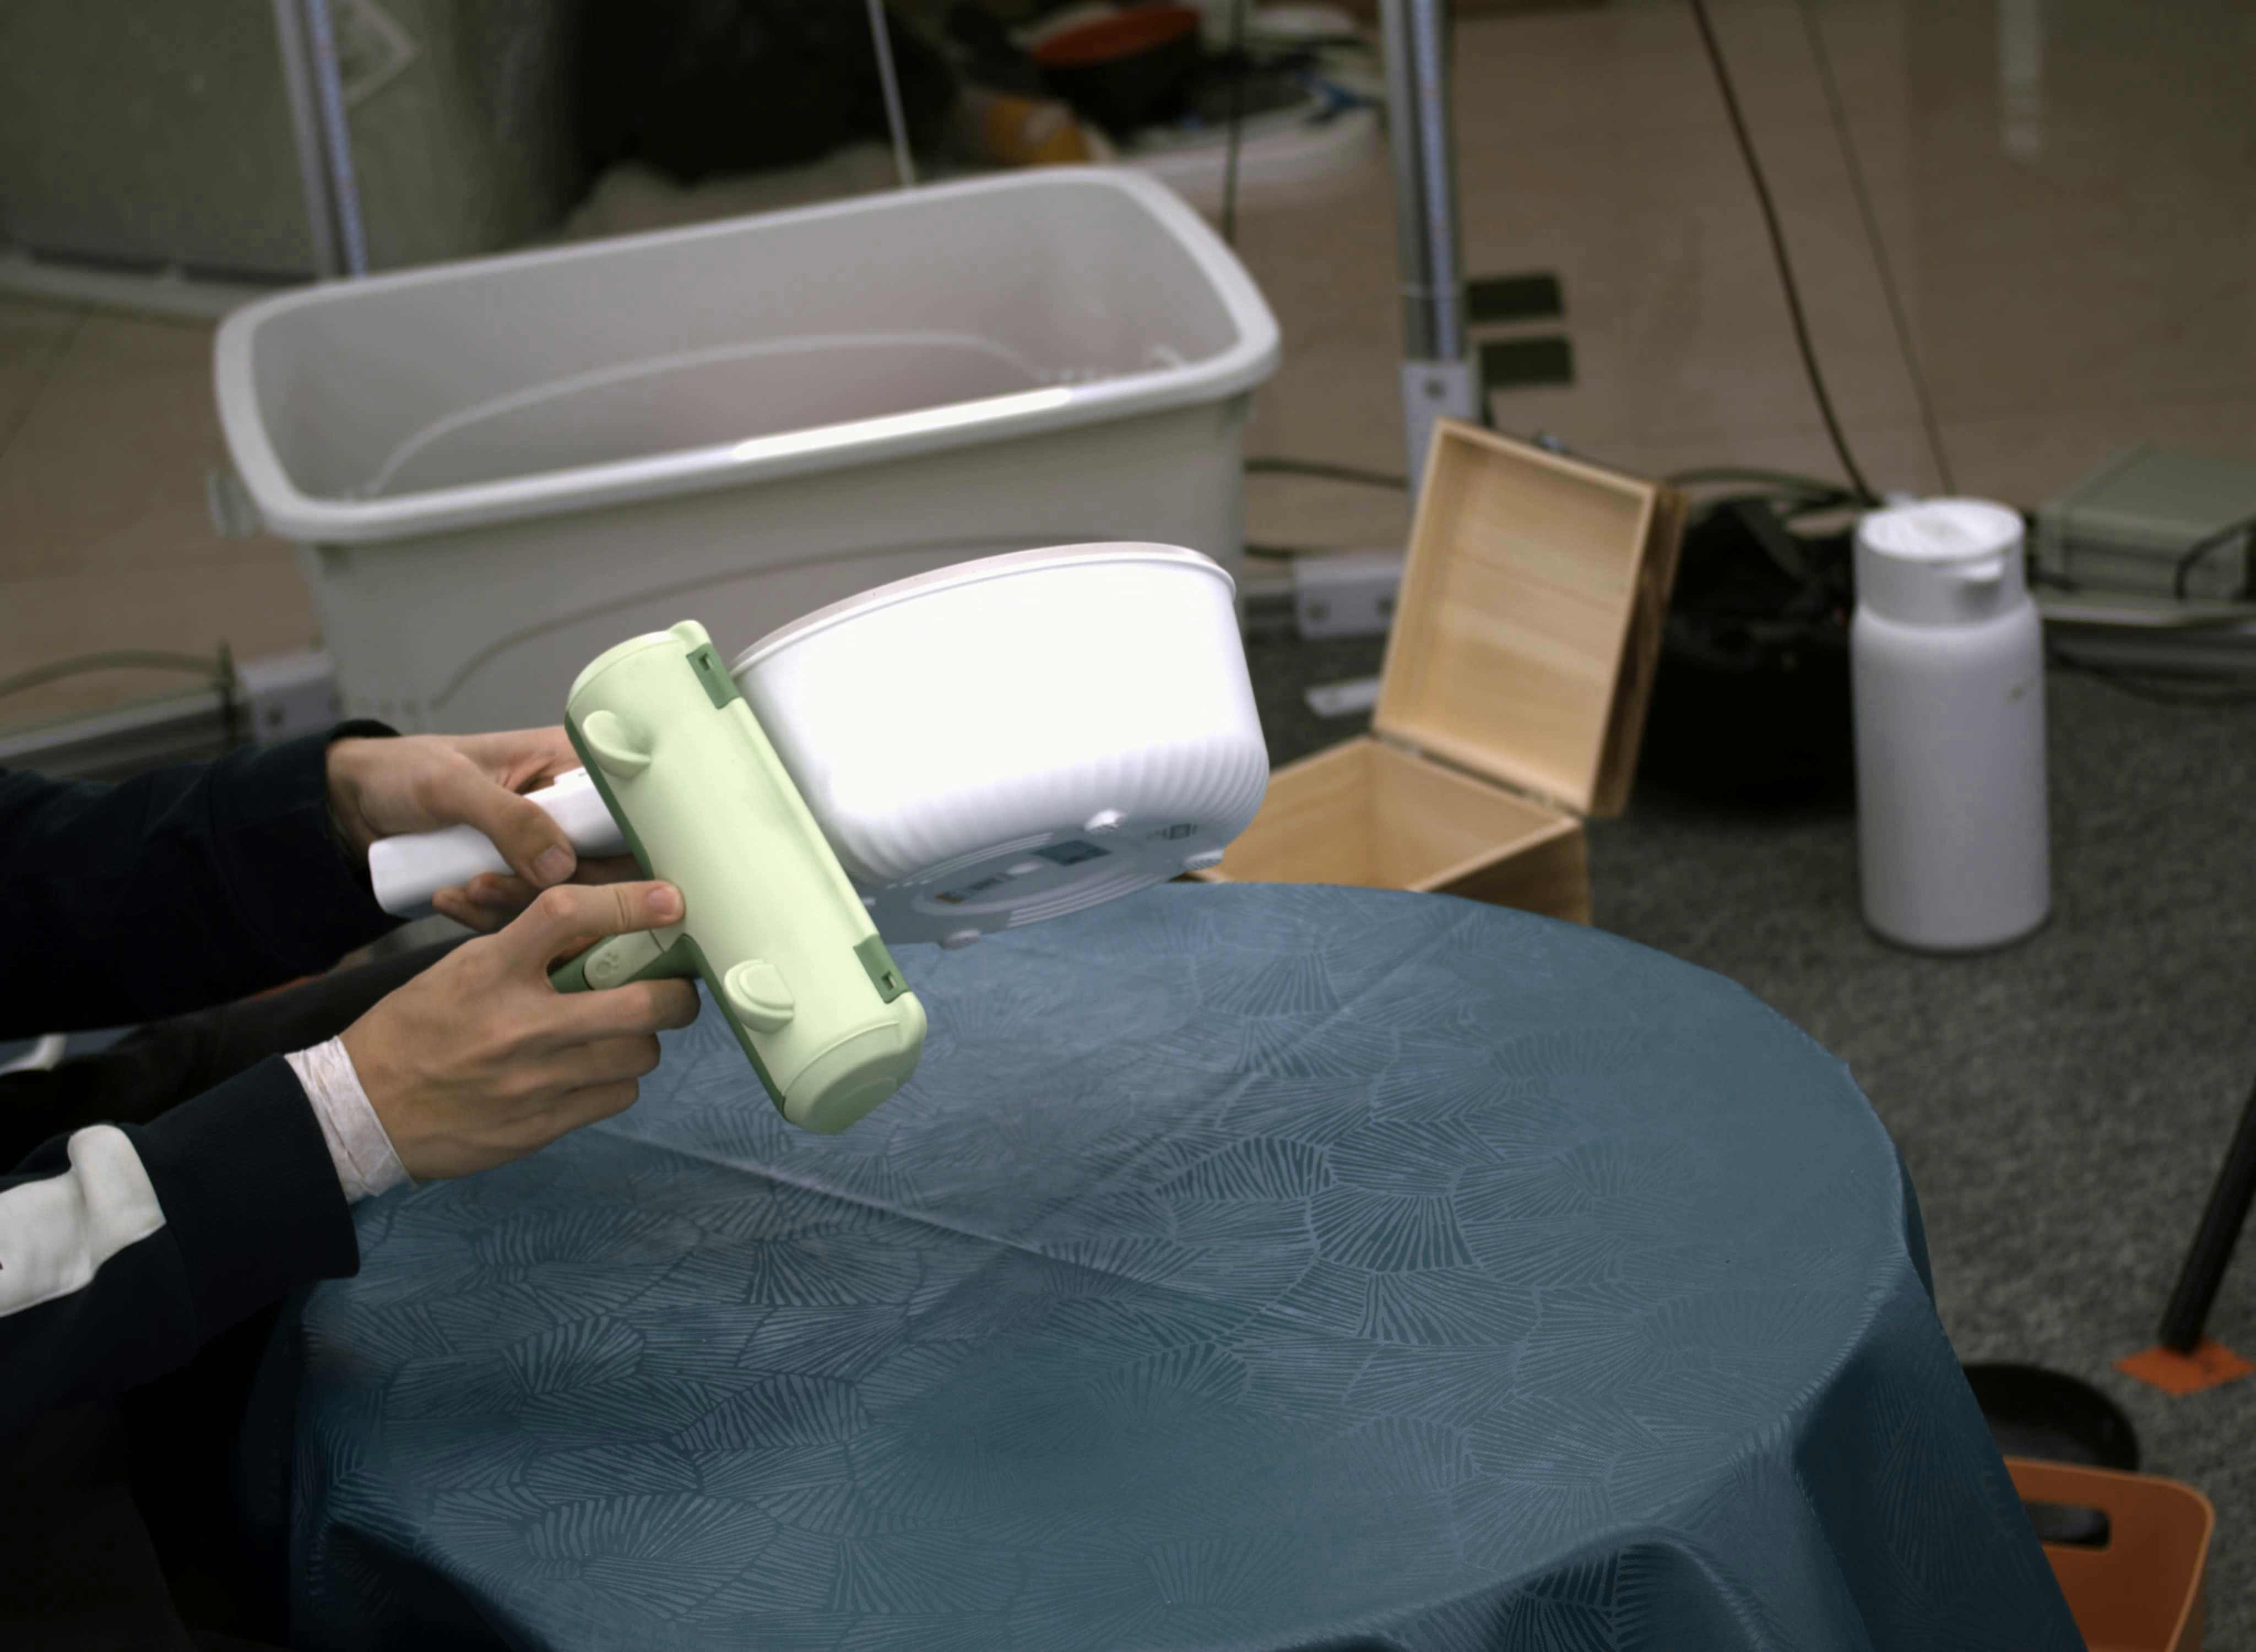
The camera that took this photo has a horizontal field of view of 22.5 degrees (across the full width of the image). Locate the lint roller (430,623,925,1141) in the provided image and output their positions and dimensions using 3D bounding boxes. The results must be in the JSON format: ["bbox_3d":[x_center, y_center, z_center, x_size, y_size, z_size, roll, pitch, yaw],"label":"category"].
[{"bbox_3d":[-0.188,0.049,2.031,0.183,0.083,0.196,-34,67,8],"label":"lint roller"}]

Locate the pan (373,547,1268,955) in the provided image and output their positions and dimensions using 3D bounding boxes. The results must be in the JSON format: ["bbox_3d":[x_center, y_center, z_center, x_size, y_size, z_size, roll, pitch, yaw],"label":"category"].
[{"bbox_3d":[-0.117,0.002,2.125,0.355,0.101,0.202,-19,-13,18],"label":"pan"}]
